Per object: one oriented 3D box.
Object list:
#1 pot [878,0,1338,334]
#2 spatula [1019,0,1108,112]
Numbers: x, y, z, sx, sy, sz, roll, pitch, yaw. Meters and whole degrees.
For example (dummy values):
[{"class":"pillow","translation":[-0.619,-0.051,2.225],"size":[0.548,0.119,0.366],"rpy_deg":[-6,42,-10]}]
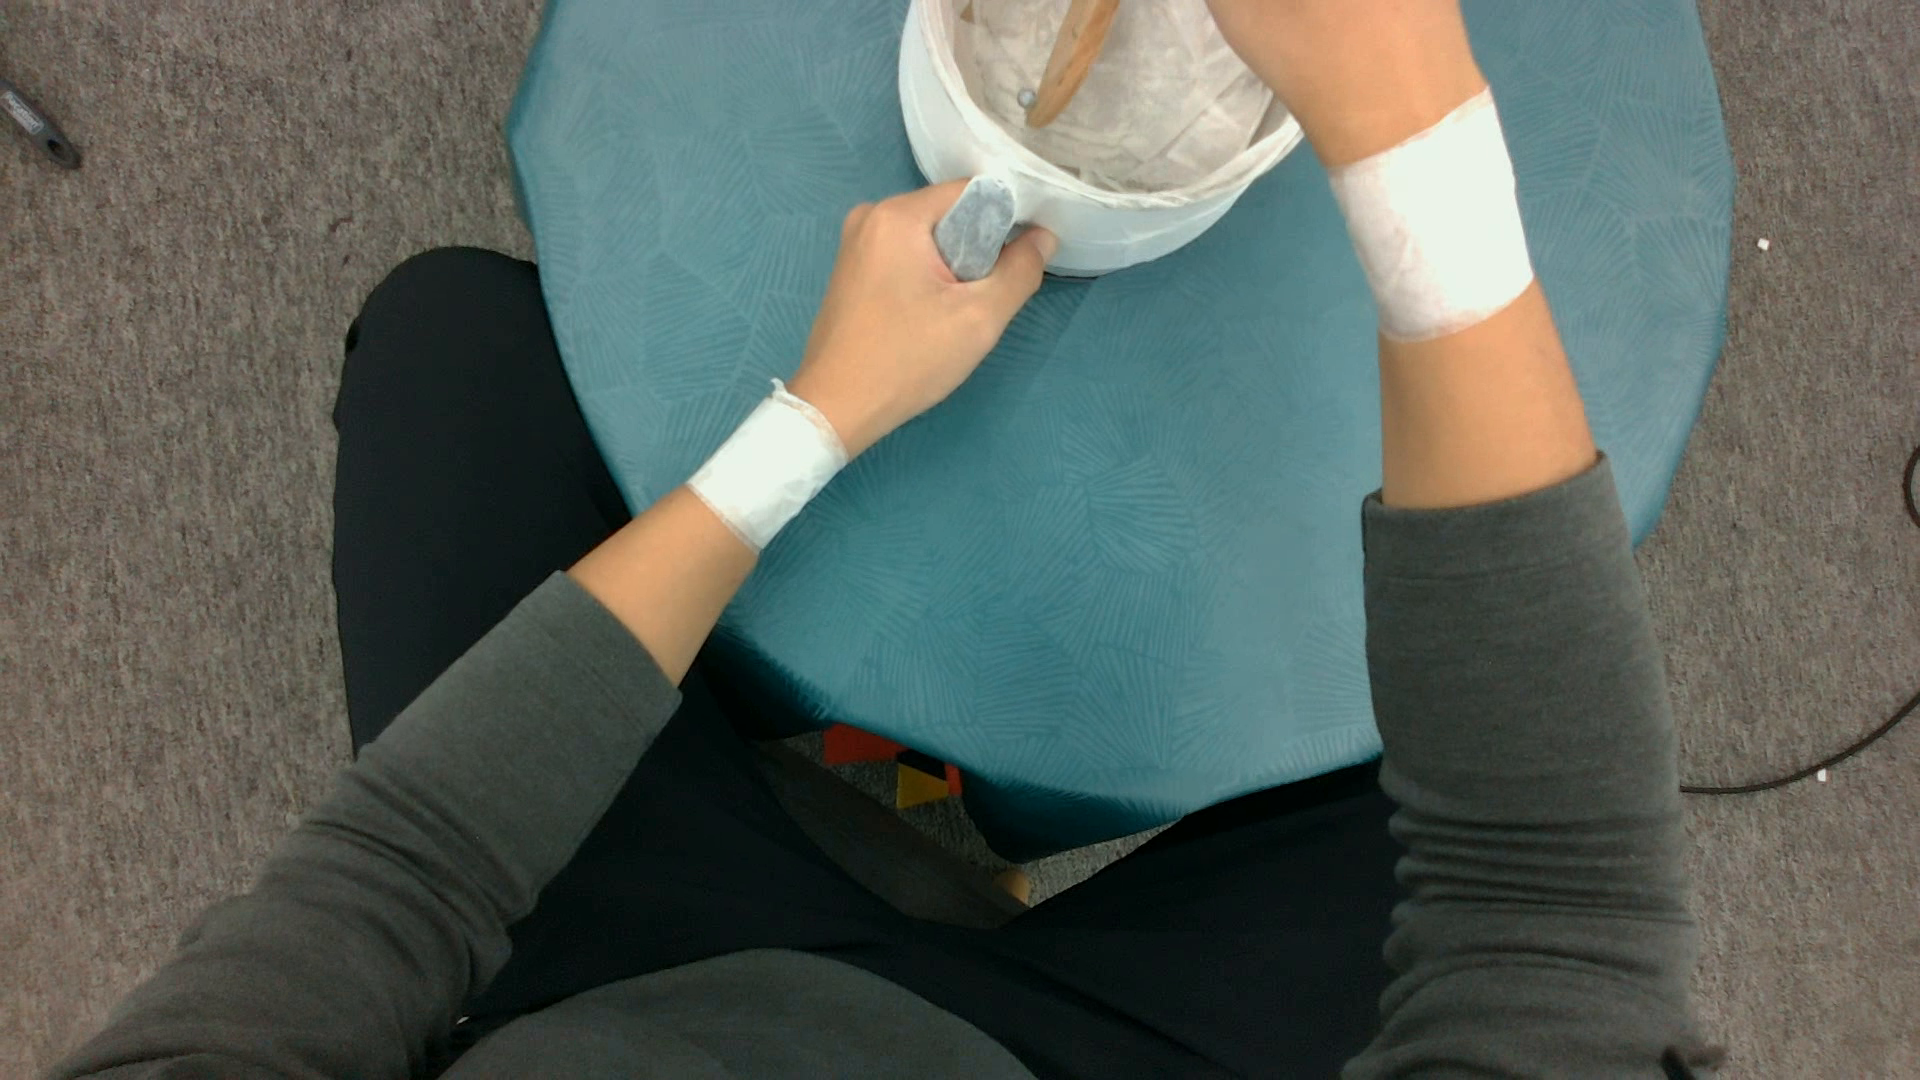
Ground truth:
[{"class":"pot","translation":[0.044,-0.197,0.605],"size":[0.179,0.136,0.234],"rpy_deg":[33,84,-4]},{"class":"spatula","translation":[0.065,-0.223,0.424],"size":[0.018,0.390,0.096],"rpy_deg":[19,90,-6]}]
